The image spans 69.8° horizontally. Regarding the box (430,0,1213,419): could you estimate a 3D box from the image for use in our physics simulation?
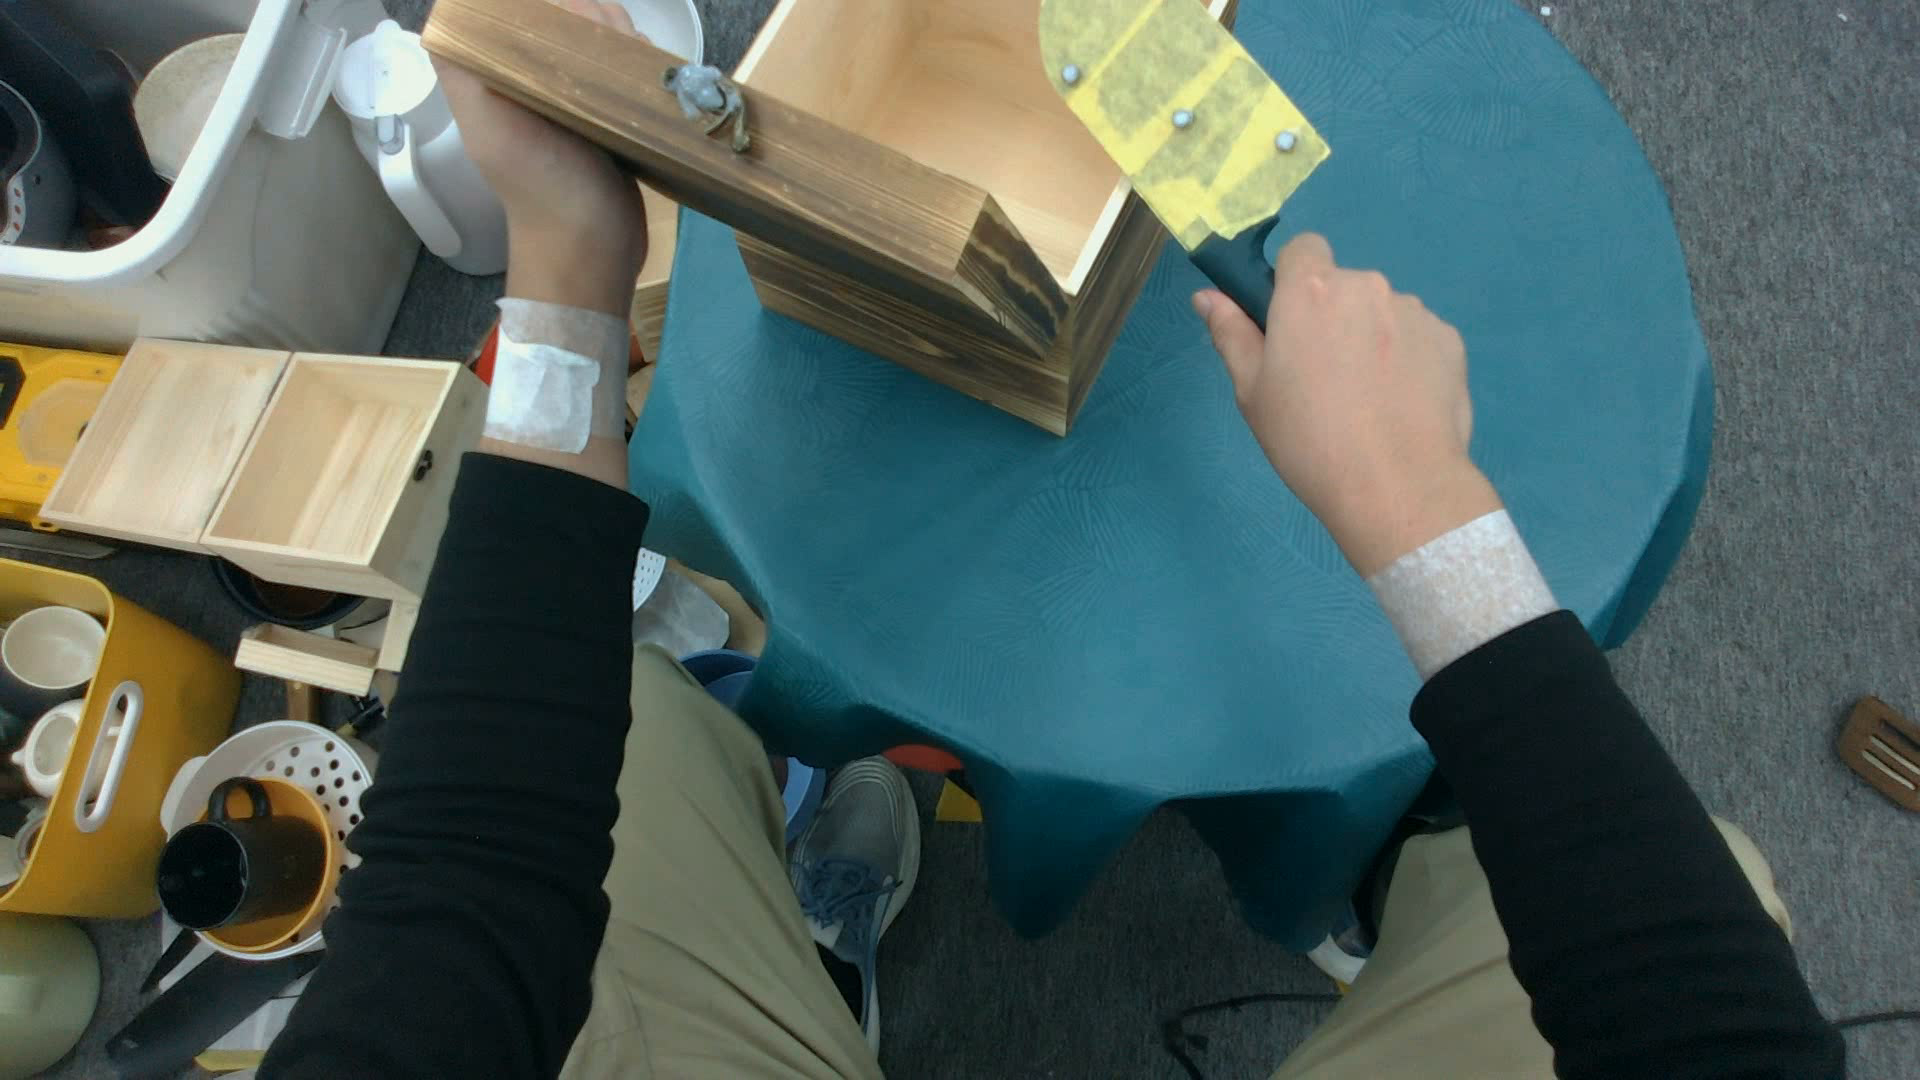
[{"bbox_3d":[-0.023,-0.203,0.644,0.209,0.374,0.323,24,75,9],"label":"box"}]

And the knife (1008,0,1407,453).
[{"bbox_3d":[0.110,-0.161,0.611,0.080,0.027,0.290,-42,75,30],"label":"knife"}]
